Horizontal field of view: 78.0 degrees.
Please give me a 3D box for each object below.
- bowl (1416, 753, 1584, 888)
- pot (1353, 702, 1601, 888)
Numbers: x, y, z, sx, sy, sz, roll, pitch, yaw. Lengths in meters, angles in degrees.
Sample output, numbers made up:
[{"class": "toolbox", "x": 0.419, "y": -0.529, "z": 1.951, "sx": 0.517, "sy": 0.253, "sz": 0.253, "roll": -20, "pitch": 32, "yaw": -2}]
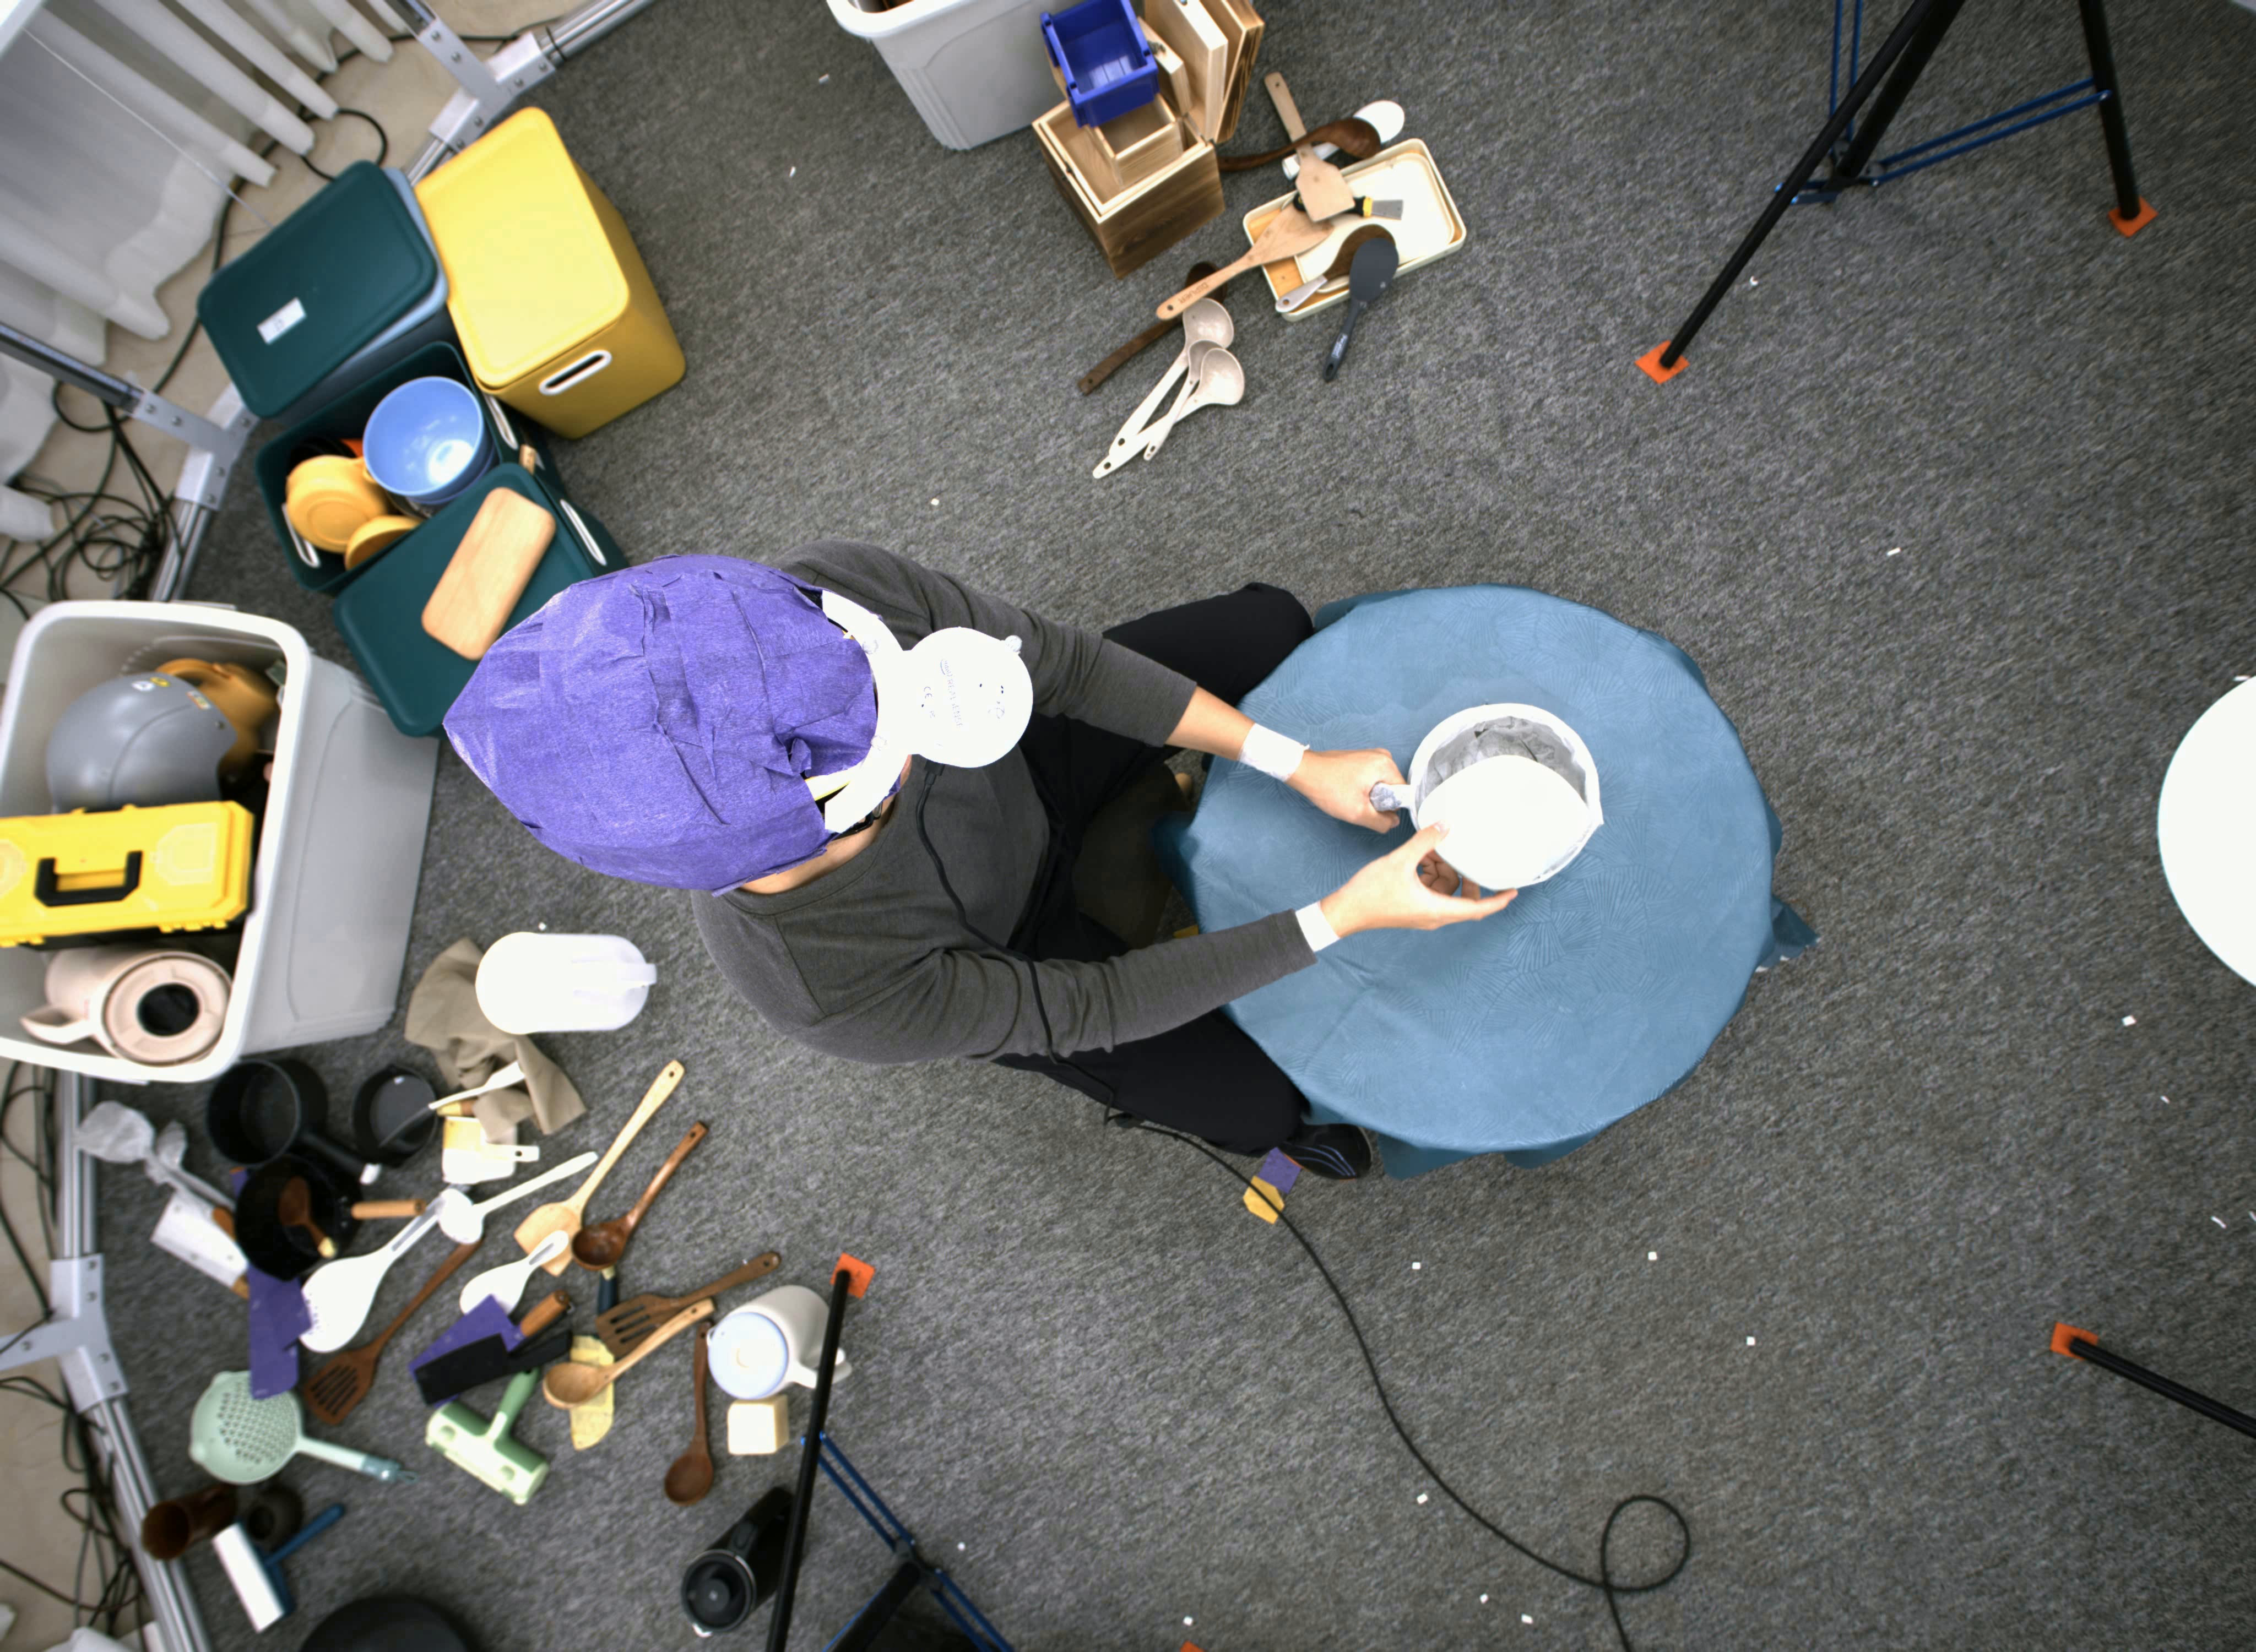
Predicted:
[{"class": "bowl", "x": 0.347, "y": 0.001, "z": 1.282, "sx": 0.152, "sy": 0.060, "sz": 0.147, "roll": -9, "pitch": 45, "yaw": 8}, {"class": "pot", "x": 0.343, "y": -0.034, "z": 1.374, "sx": 0.235, "sy": 0.135, "sz": 0.179, "roll": -2, "pitch": 95, "yaw": 10}]
